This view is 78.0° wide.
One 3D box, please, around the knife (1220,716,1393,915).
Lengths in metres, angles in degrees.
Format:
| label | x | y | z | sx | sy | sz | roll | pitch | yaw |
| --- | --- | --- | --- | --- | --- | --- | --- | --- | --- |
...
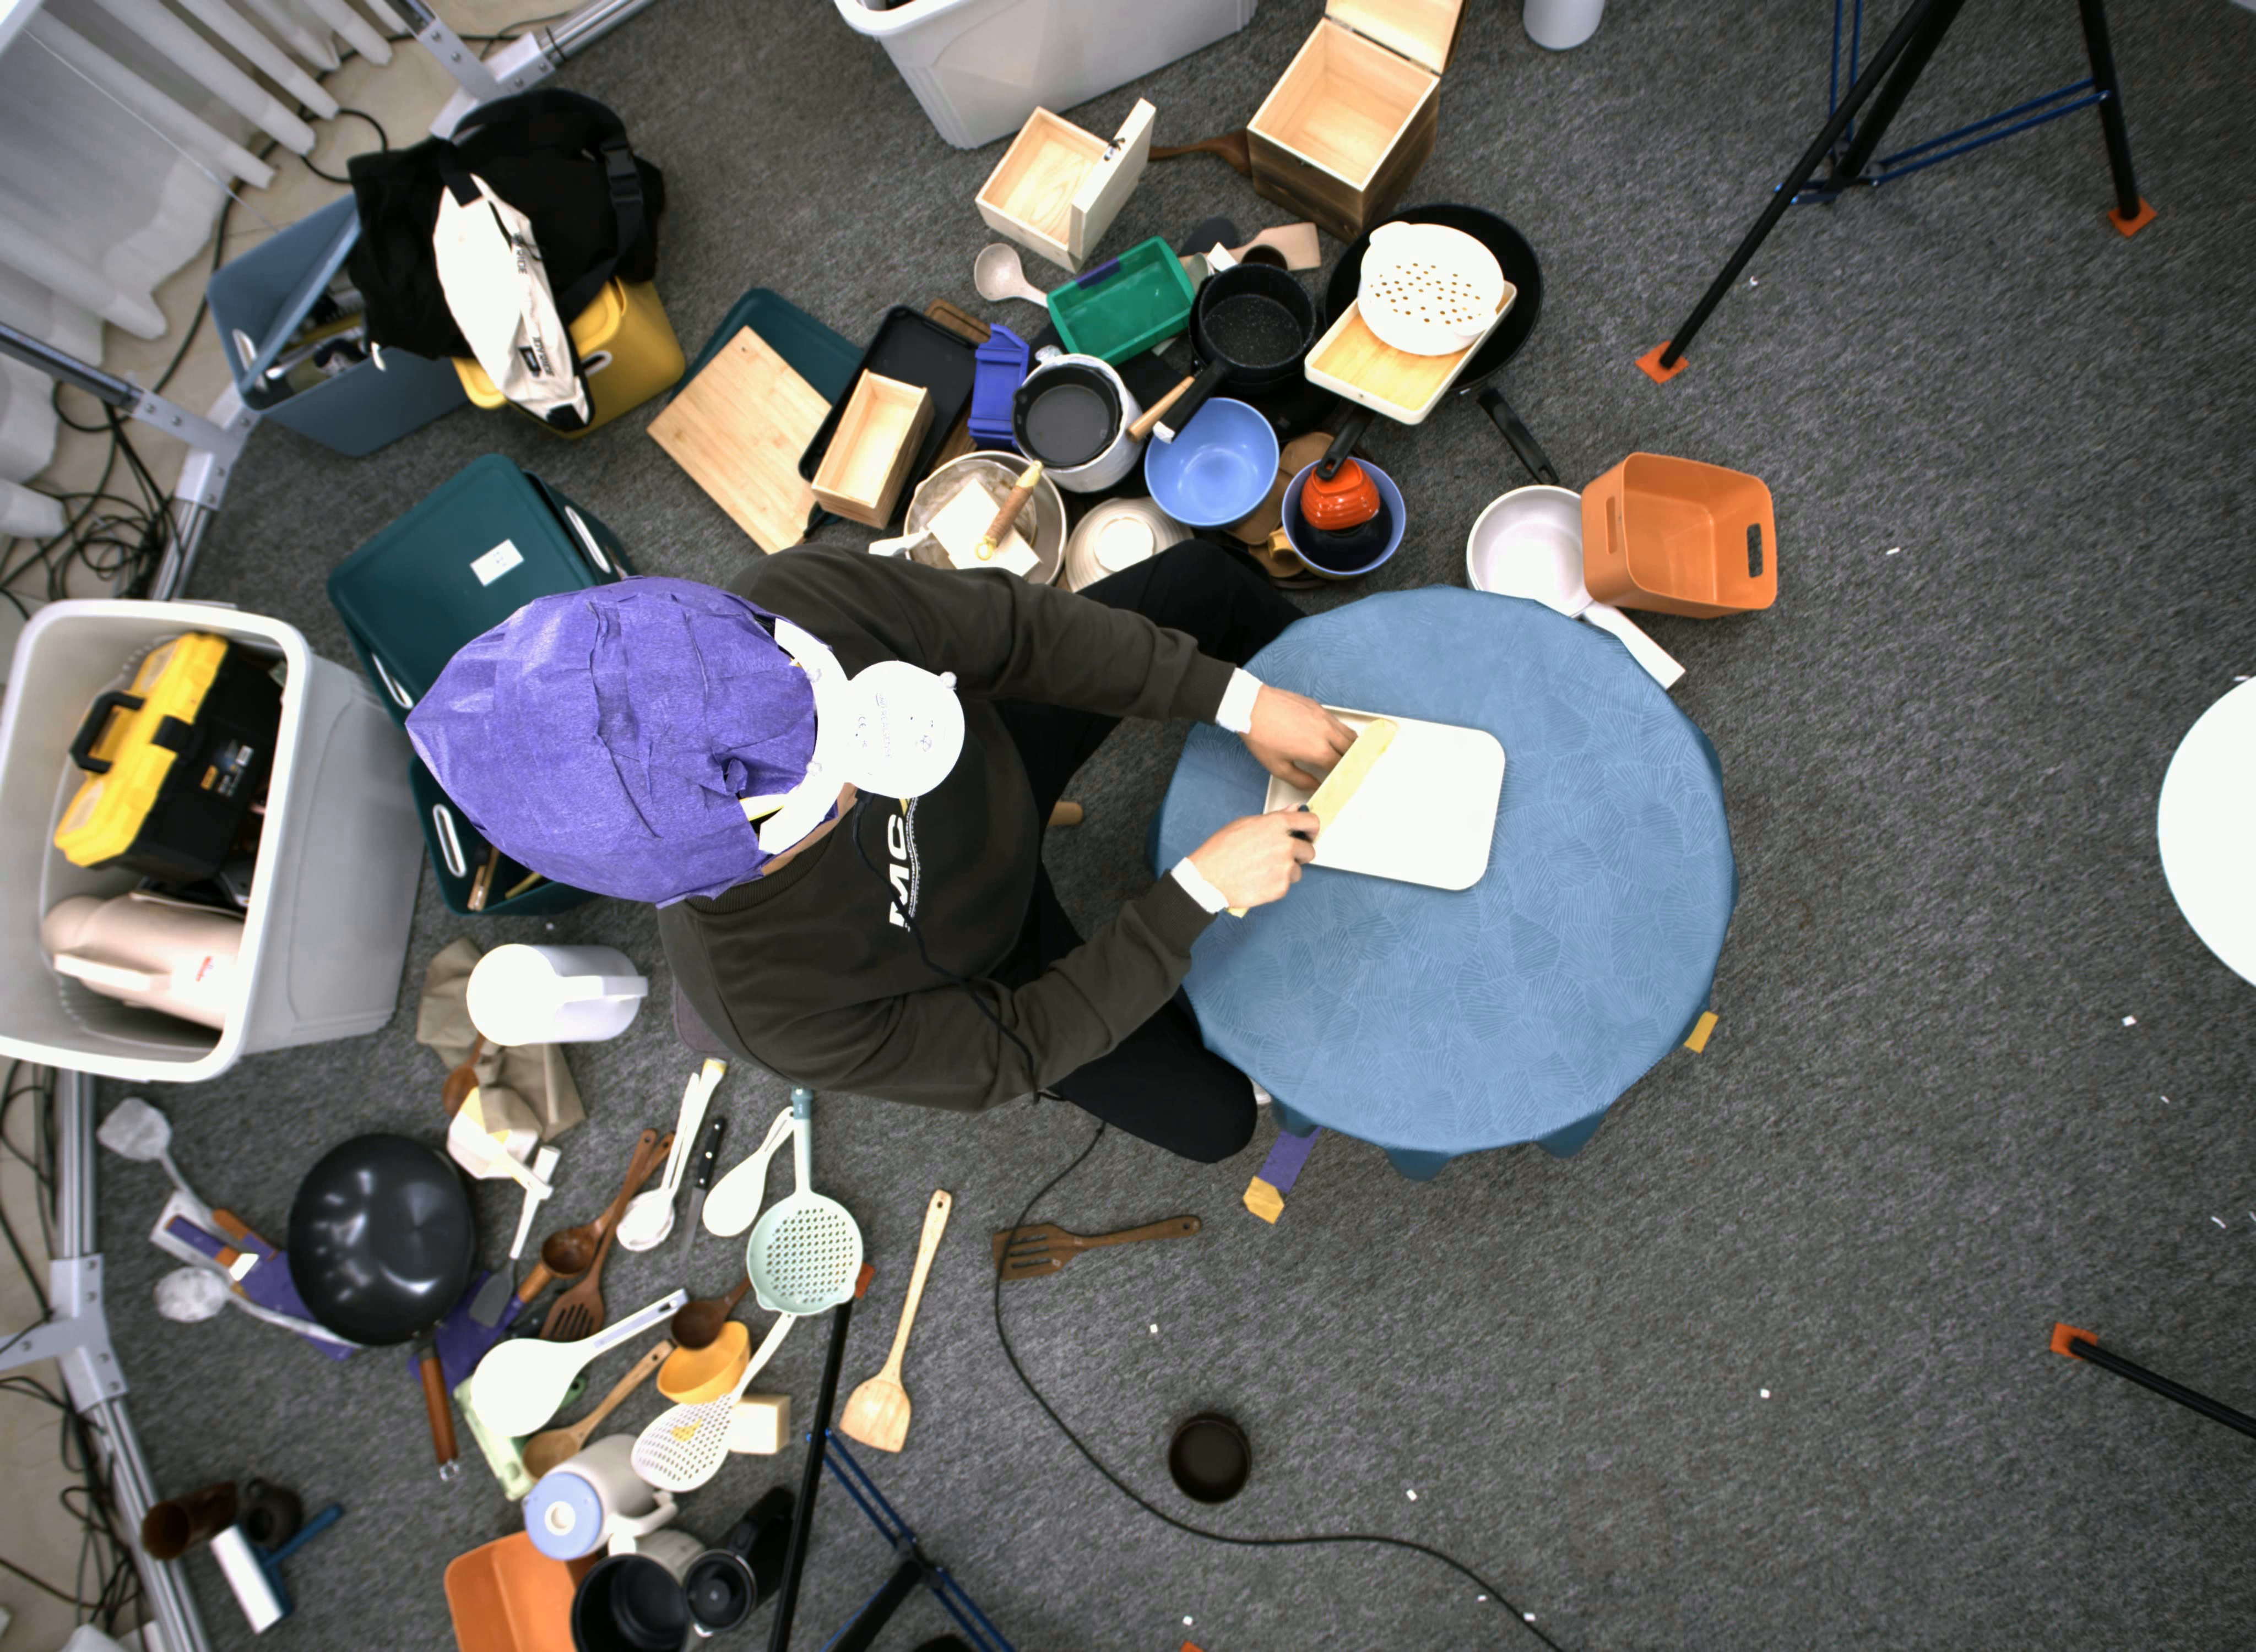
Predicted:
| label | x | y | z | sx | sy | sz | roll | pitch | yaw |
| --- | --- | --- | --- | --- | --- | --- | --- | --- | --- |
| knife | 0.188 | -0.012 | 1.400 | 0.027 | 0.083 | 0.285 | 30 | 68 | 32 |

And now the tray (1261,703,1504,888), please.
| label | x | y | z | sx | sy | sz | roll | pitch | yaw |
| --- | --- | --- | --- | --- | --- | --- | --- | --- | --- |
| tray | 0.268 | -0.034 | 1.457 | 0.240 | 0.017 | 0.171 | 11 | 89 | 11 |
